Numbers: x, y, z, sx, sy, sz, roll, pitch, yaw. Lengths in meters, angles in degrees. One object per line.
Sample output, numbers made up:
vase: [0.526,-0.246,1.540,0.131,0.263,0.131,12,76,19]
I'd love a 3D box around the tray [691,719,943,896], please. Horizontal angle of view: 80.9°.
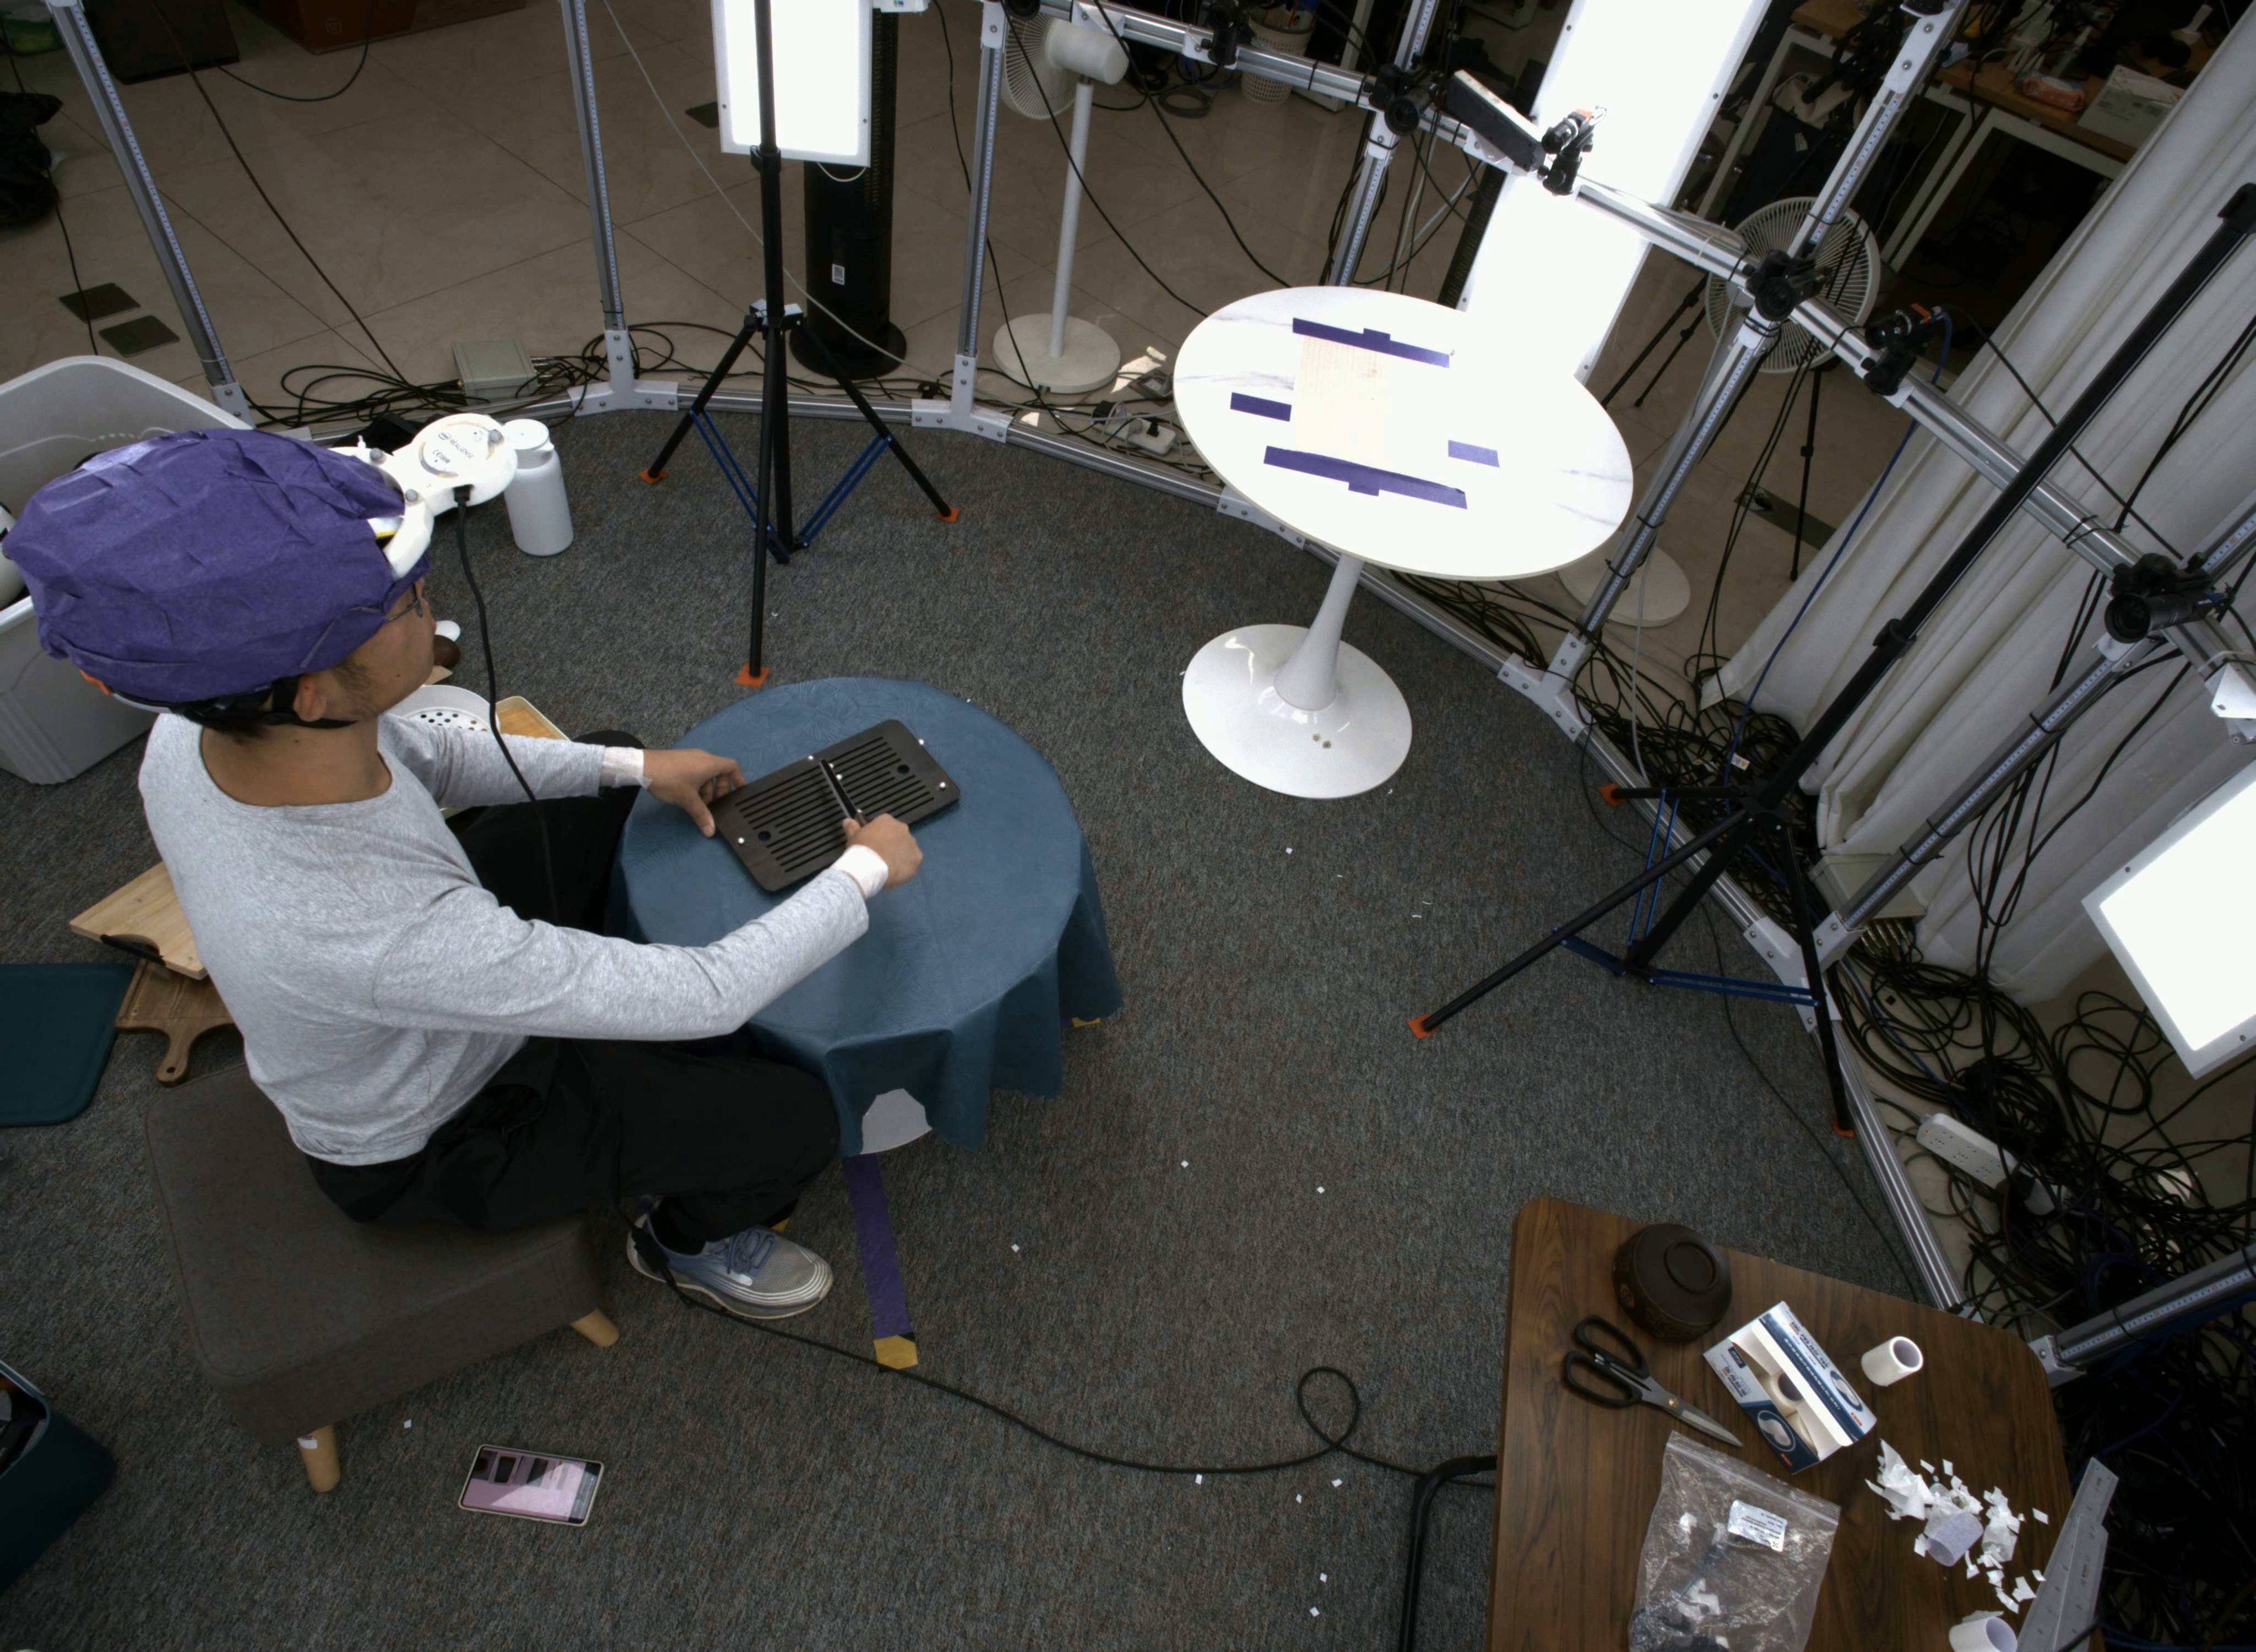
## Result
tray: [-0.416,-0.029,1.748,0.307,0.019,0.166,-30,66,-30]

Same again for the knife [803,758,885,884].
knife: [-0.368,-0.012,1.651,0.020,0.052,0.278,-17,41,-26]
